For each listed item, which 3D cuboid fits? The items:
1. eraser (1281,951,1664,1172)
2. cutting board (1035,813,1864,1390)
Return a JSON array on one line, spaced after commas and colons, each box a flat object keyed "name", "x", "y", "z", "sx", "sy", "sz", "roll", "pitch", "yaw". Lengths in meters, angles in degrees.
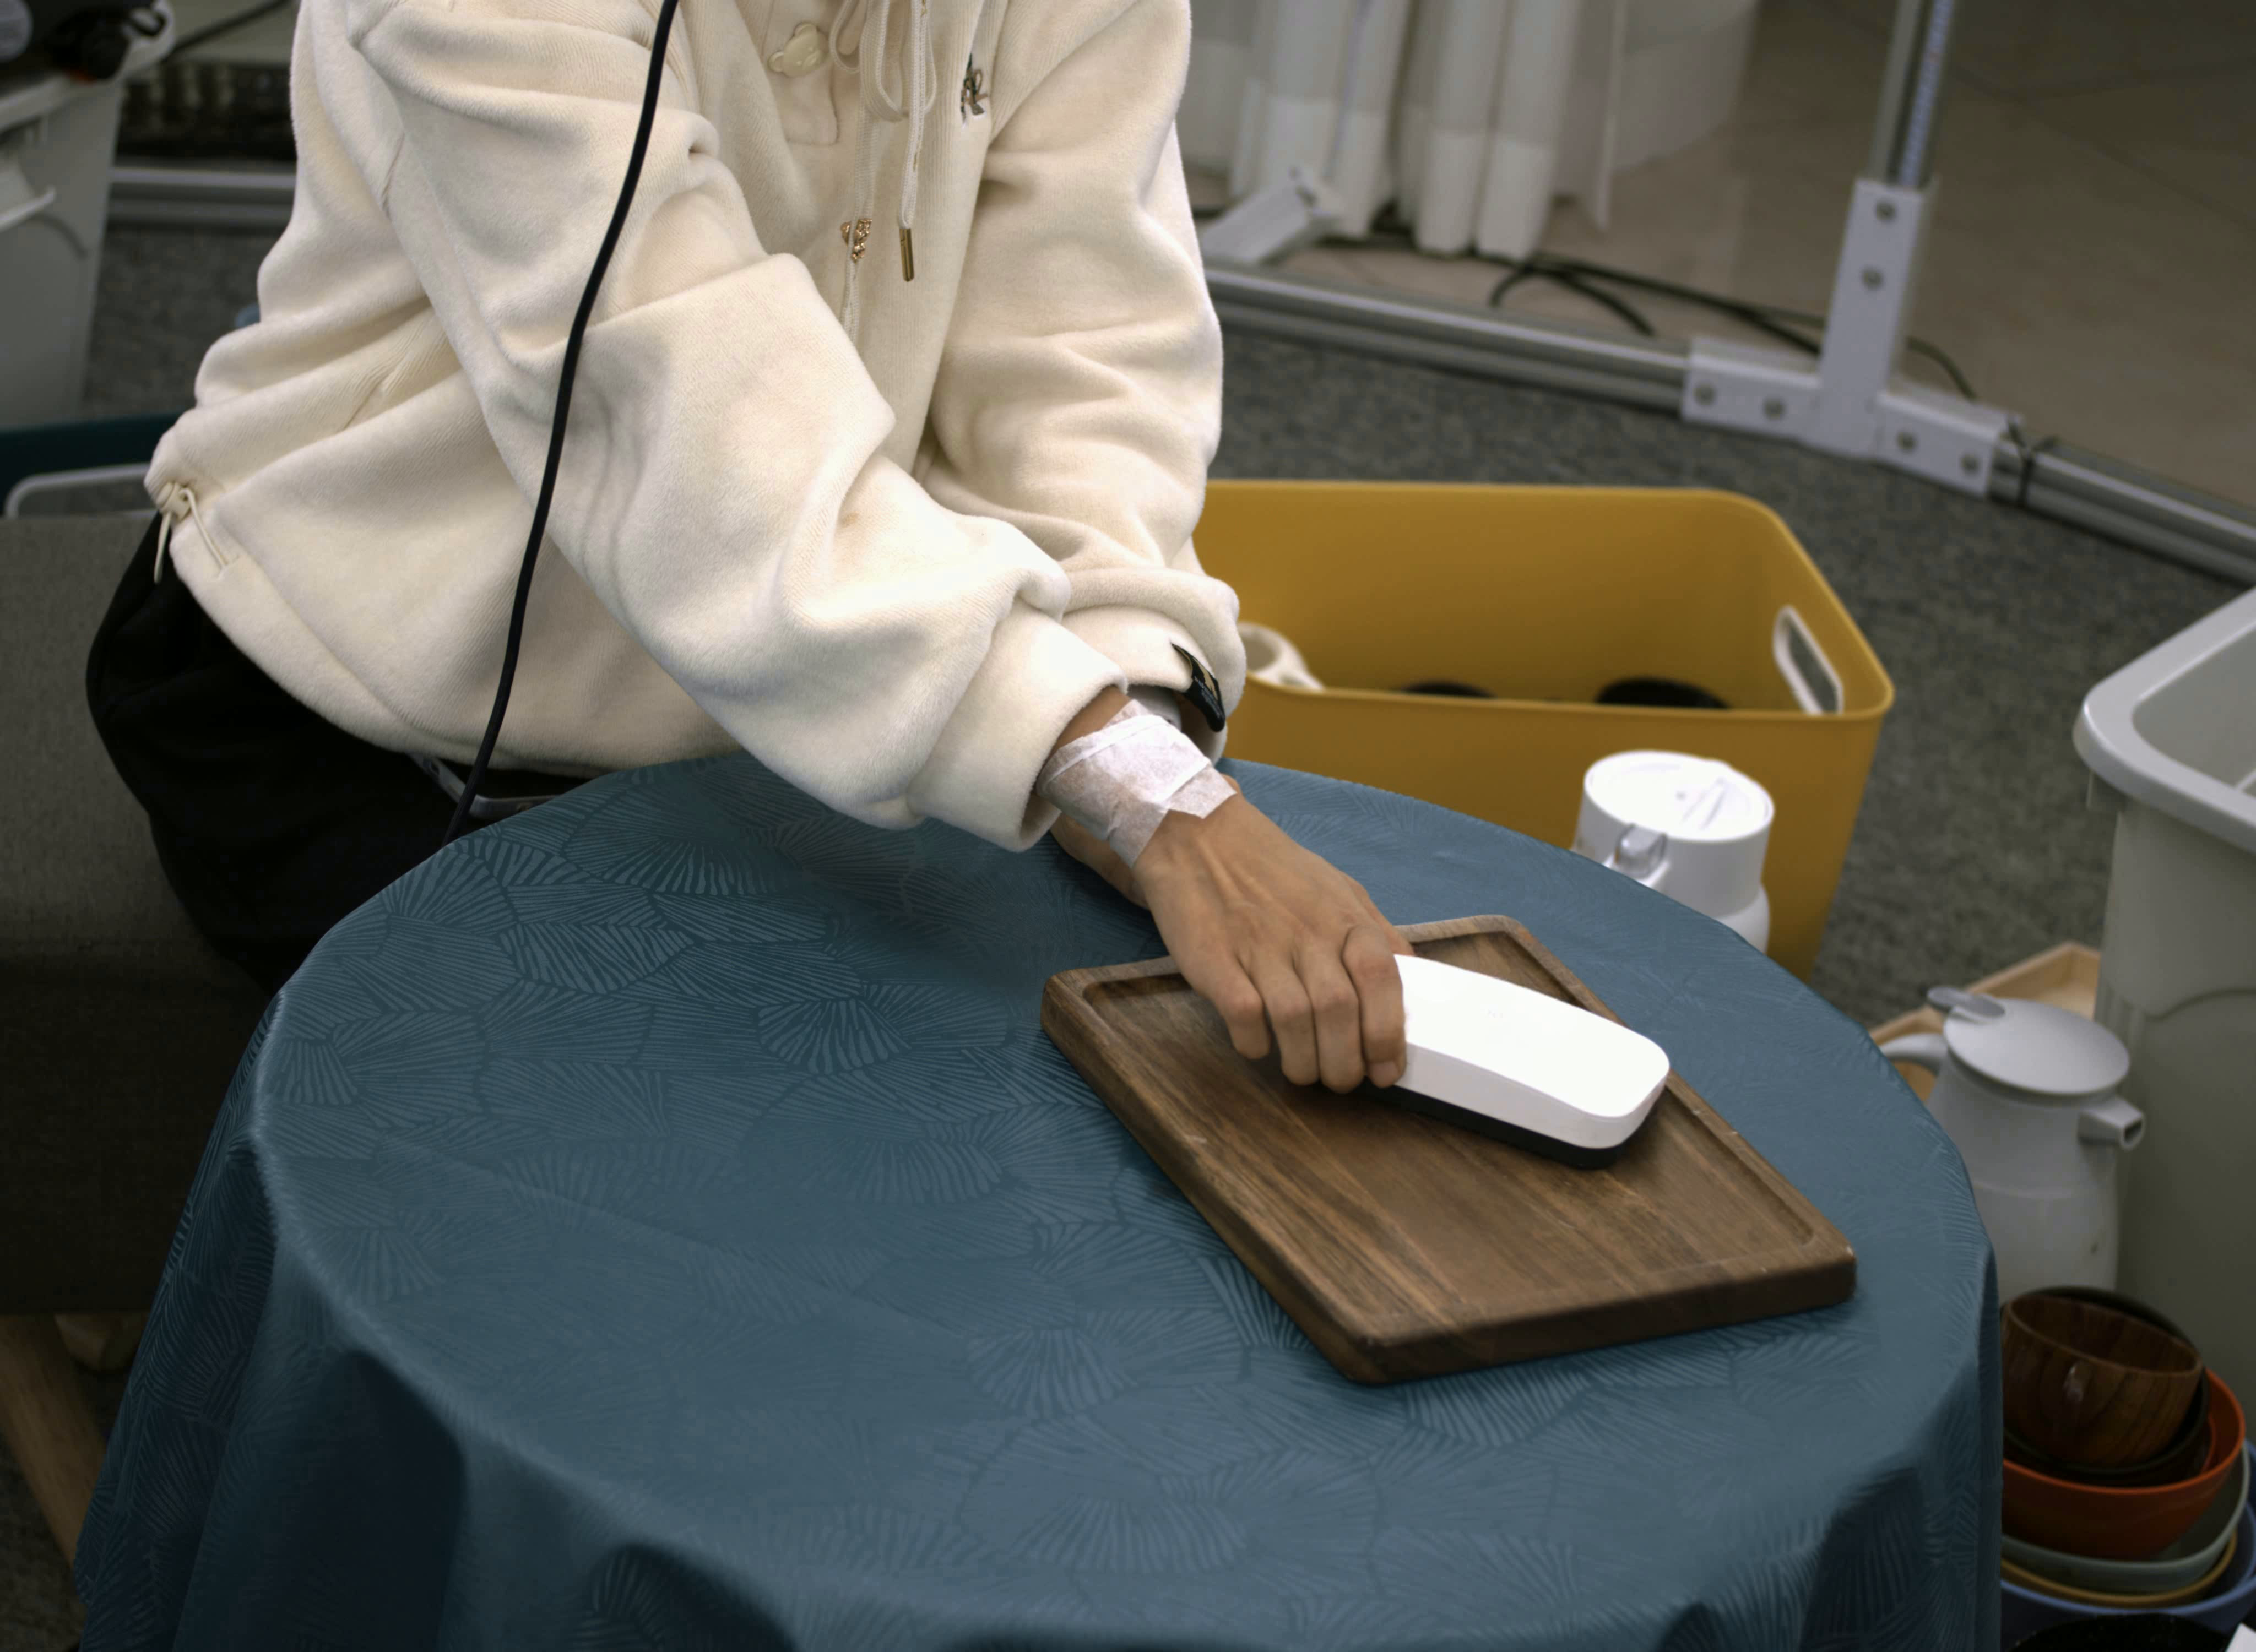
[{"name": "eraser", "x": 0.119, "y": 0.078, "z": 1.851, "sx": 0.132, "sy": 0.034, "sz": 0.063, "roll": 19, "pitch": 29, "yaw": 23}, {"name": "cutting board", "x": 0.086, "y": 0.084, "z": 1.876, "sx": 0.200, "sy": 0.023, "sz": 0.355, "roll": -7, "pitch": 30, "yaw": -26}]
